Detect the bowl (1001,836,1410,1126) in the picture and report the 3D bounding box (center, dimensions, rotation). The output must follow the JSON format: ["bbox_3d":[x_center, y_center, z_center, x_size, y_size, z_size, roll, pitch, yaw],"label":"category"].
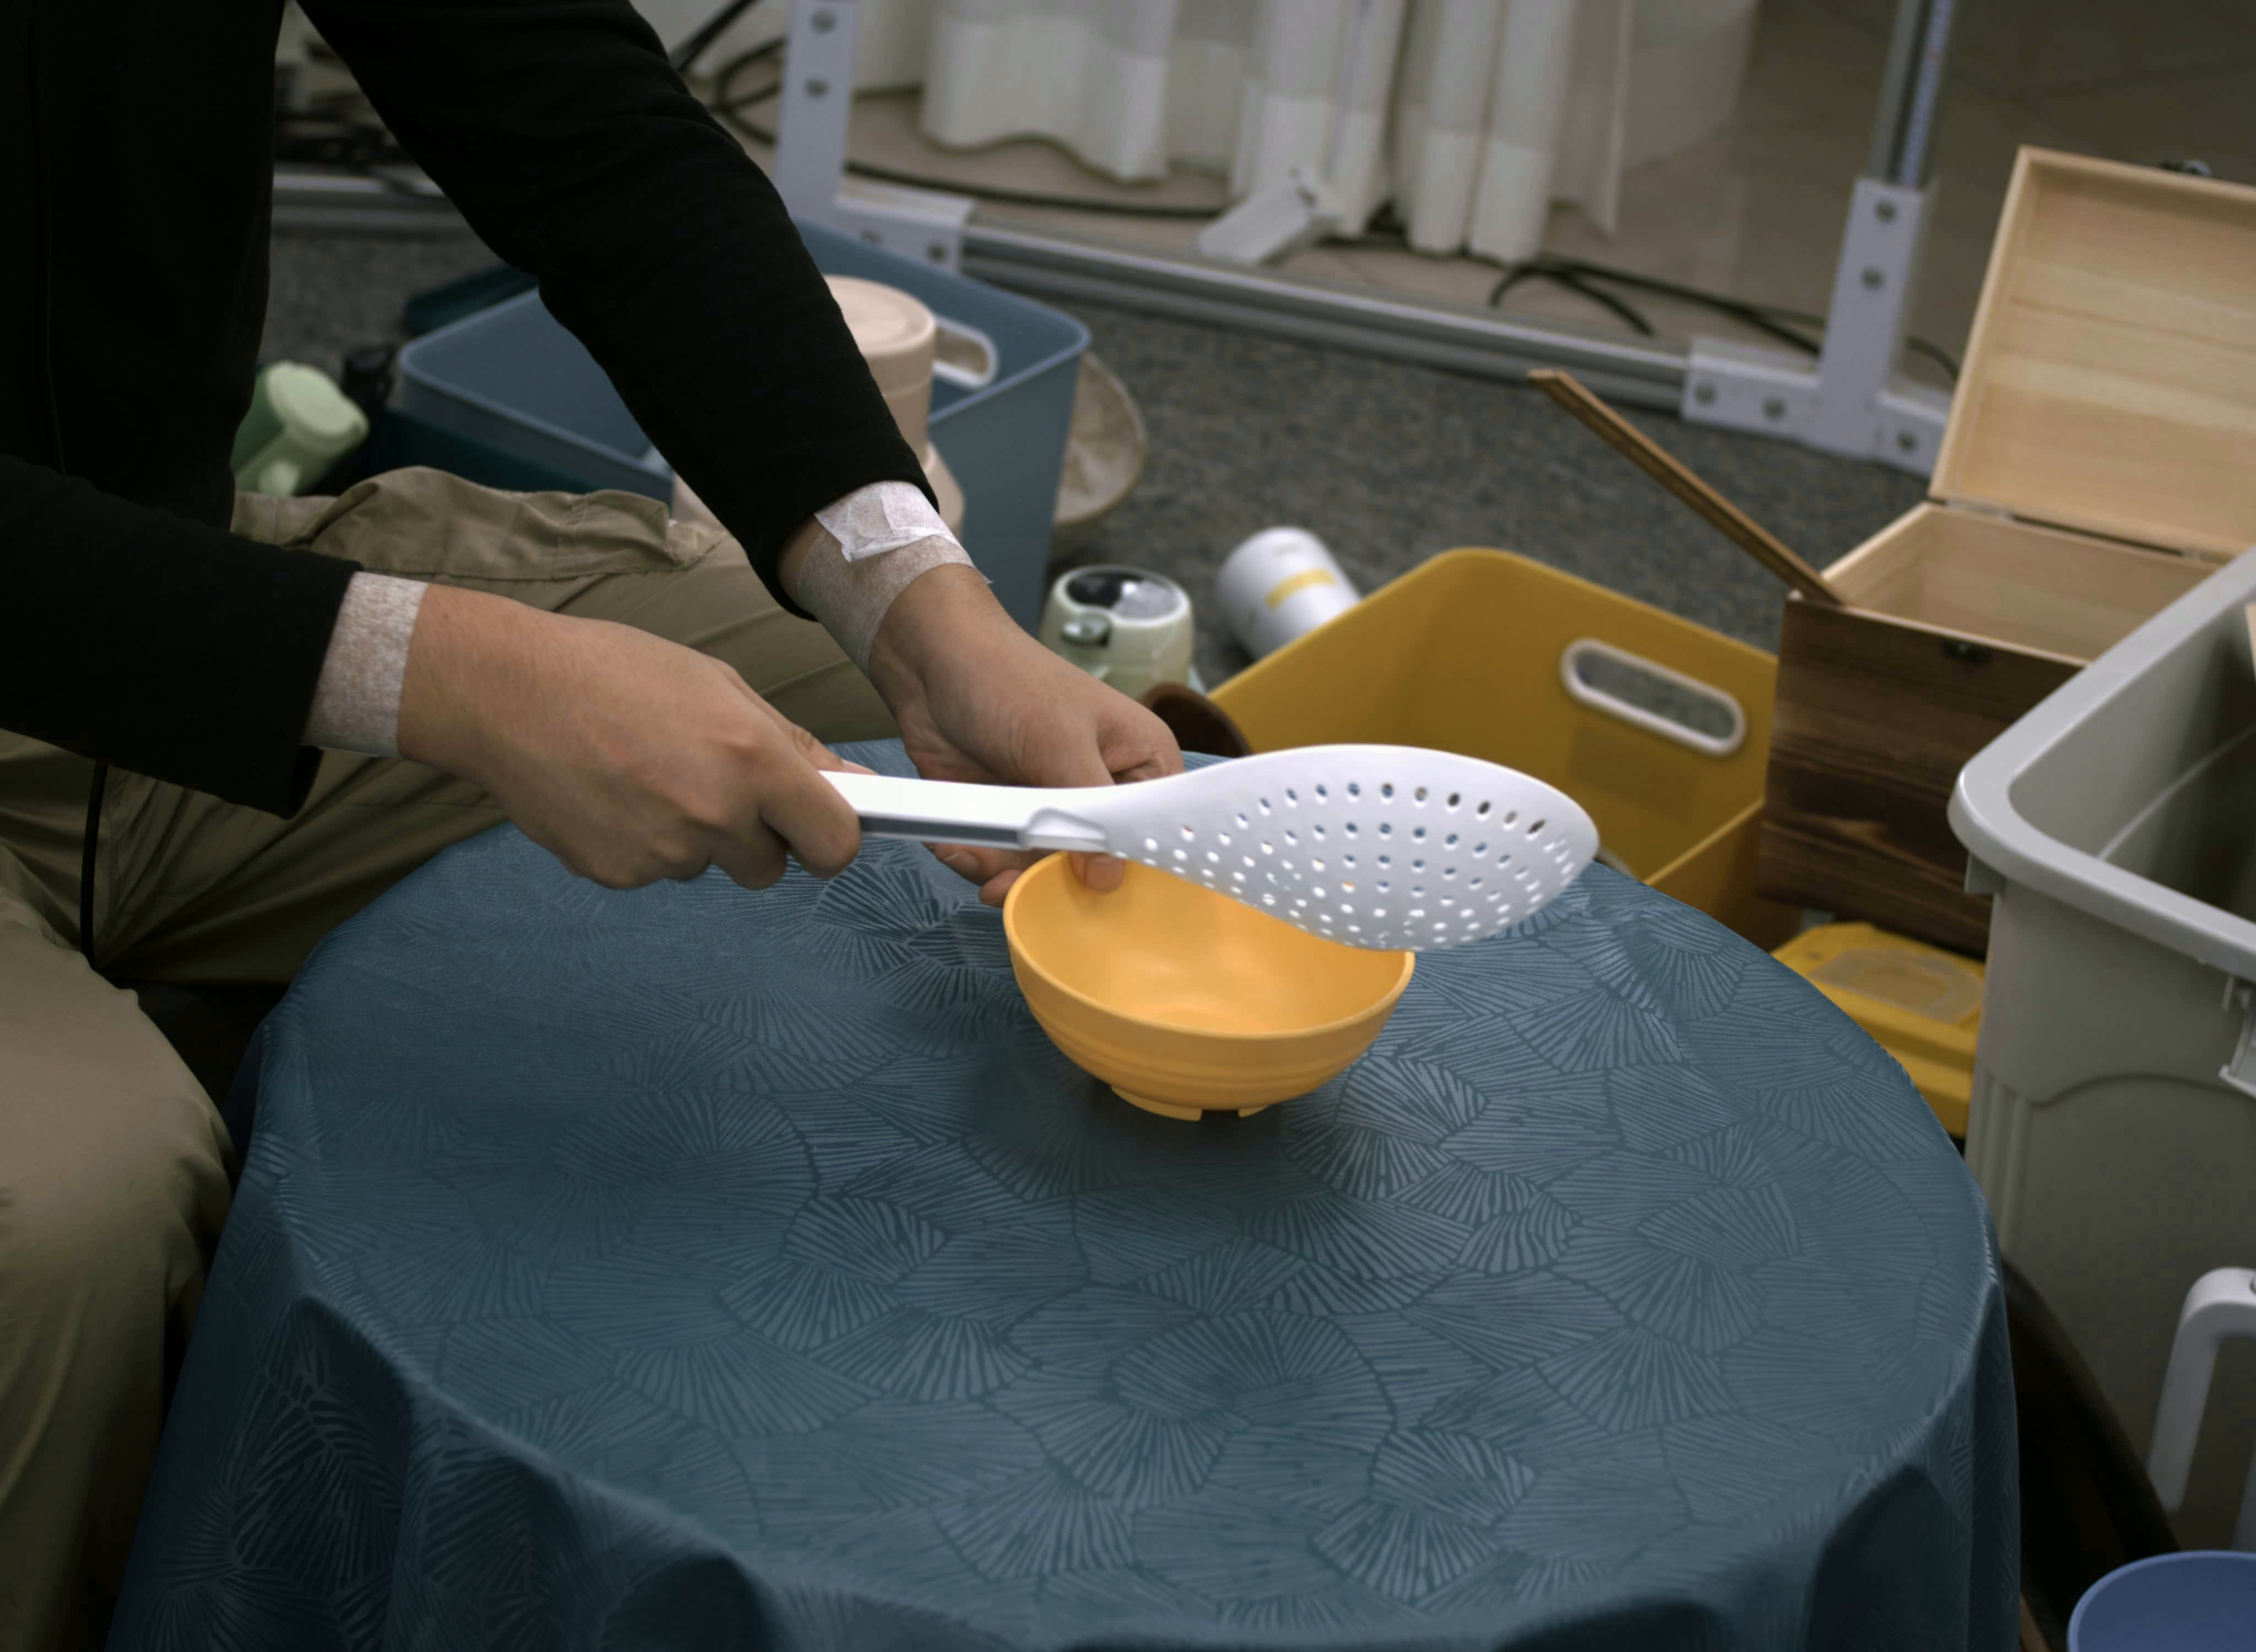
[{"bbox_3d":[0.023,0.063,1.863,0.145,0.060,0.146,7,26,-4],"label":"bowl"}]

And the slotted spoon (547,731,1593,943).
[{"bbox_3d":[-0.021,-0.004,1.776,0.349,0.135,0.046,9,68,7],"label":"slotted spoon"}]
